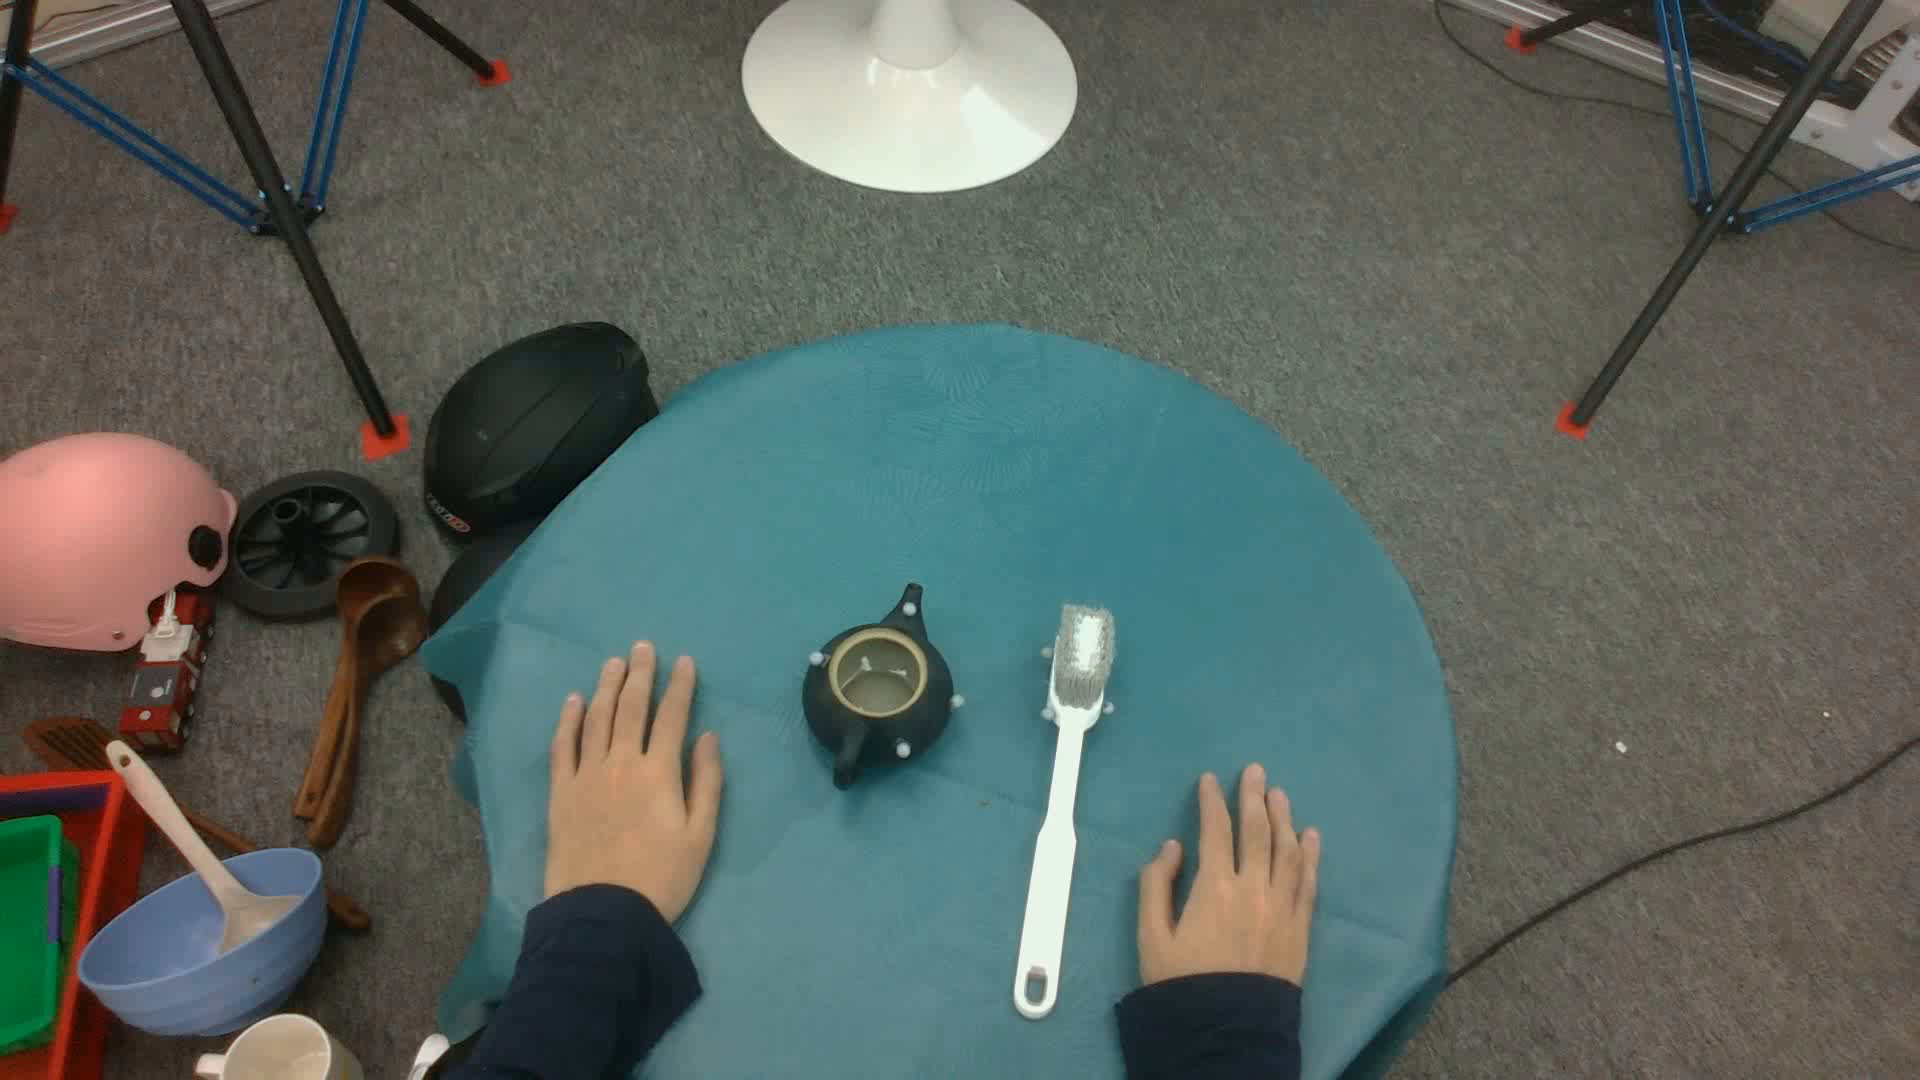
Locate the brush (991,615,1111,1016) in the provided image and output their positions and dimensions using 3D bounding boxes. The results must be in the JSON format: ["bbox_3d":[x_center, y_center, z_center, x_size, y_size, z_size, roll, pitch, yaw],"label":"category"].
[{"bbox_3d":[0.054,0.151,0.804,0.034,0.050,0.245,14,56,0],"label":"brush"}]

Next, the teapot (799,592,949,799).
[{"bbox_3d":[-0.052,0.097,0.828,0.091,0.053,0.134,14,56,9],"label":"teapot"}]
